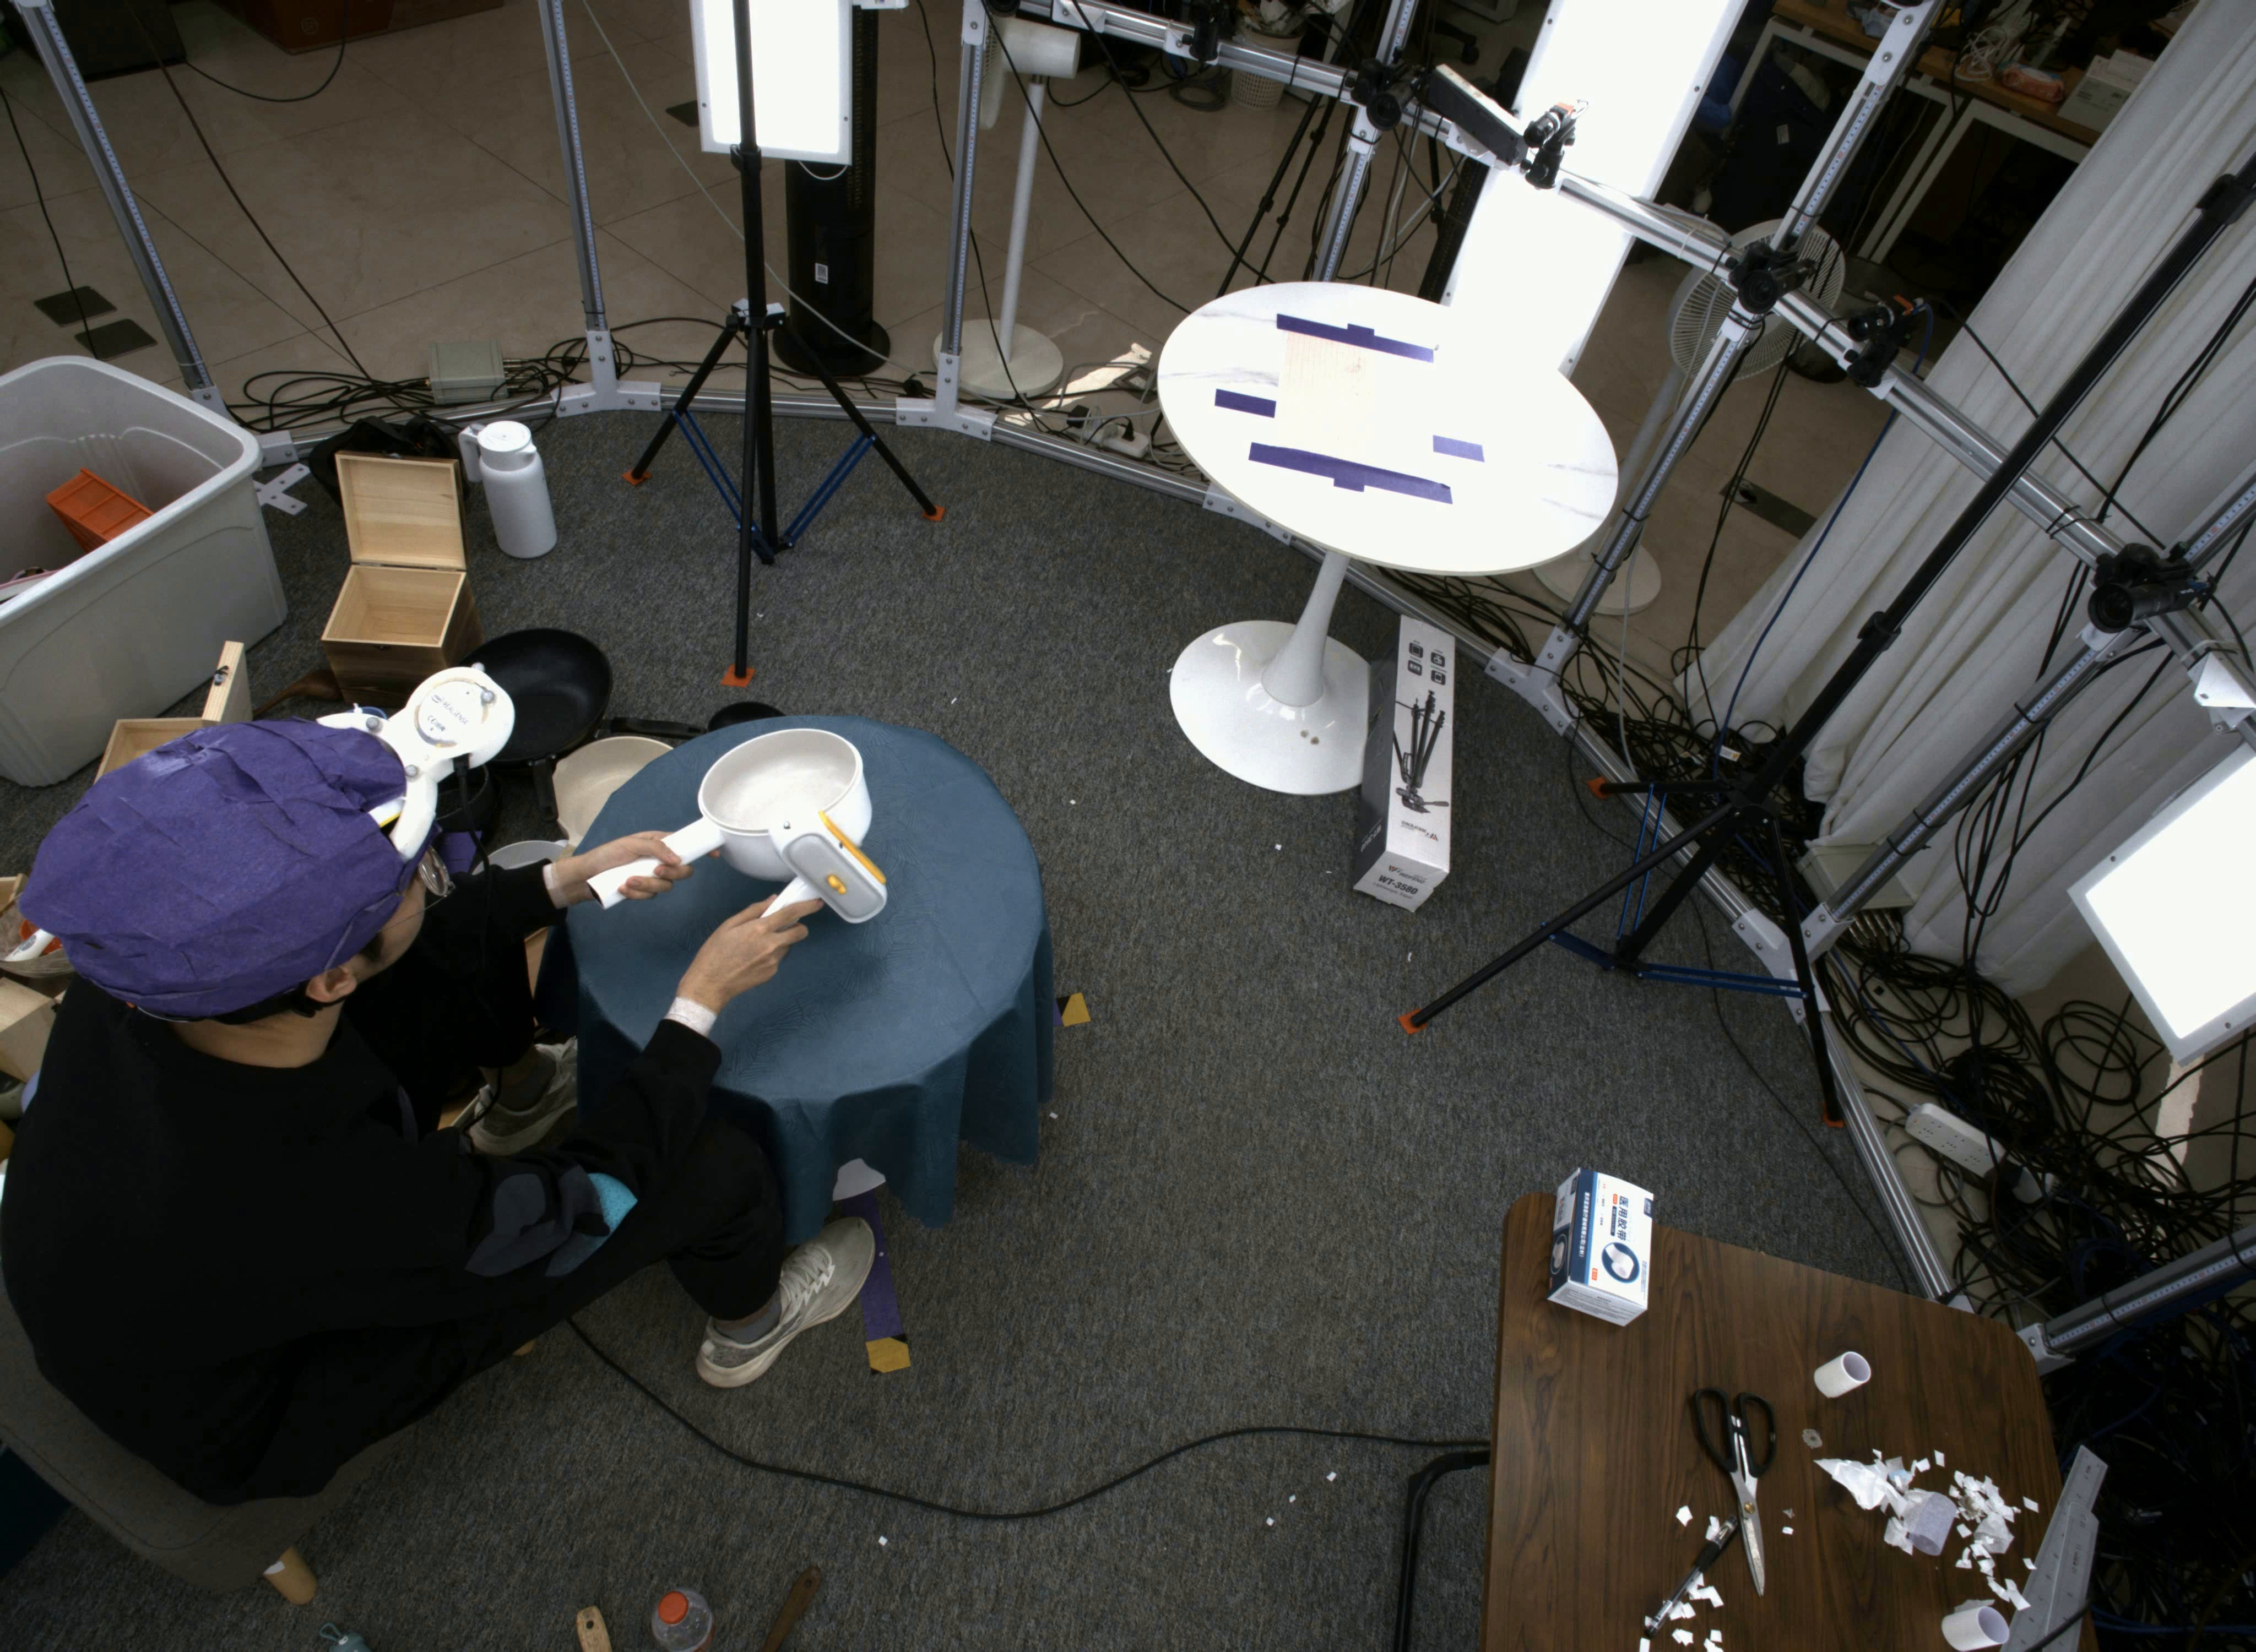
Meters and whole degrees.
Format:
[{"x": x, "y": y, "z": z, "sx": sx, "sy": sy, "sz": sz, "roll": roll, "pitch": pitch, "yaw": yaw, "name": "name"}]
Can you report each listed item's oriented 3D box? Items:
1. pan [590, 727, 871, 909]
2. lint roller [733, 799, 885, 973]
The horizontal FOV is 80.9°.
[{"x": -0.475, "y": 0.015, "z": 1.565, "sx": 0.355, "sy": 0.106, "sz": 0.194, "roll": -35, "pitch": 50, "yaw": -28, "name": "pan"}, {"x": -0.393, "y": 0.084, "z": 1.513, "sx": 0.192, "sy": 0.200, "sz": 0.071, "roll": -43, "pitch": 55, "yaw": -4, "name": "lint roller"}]
